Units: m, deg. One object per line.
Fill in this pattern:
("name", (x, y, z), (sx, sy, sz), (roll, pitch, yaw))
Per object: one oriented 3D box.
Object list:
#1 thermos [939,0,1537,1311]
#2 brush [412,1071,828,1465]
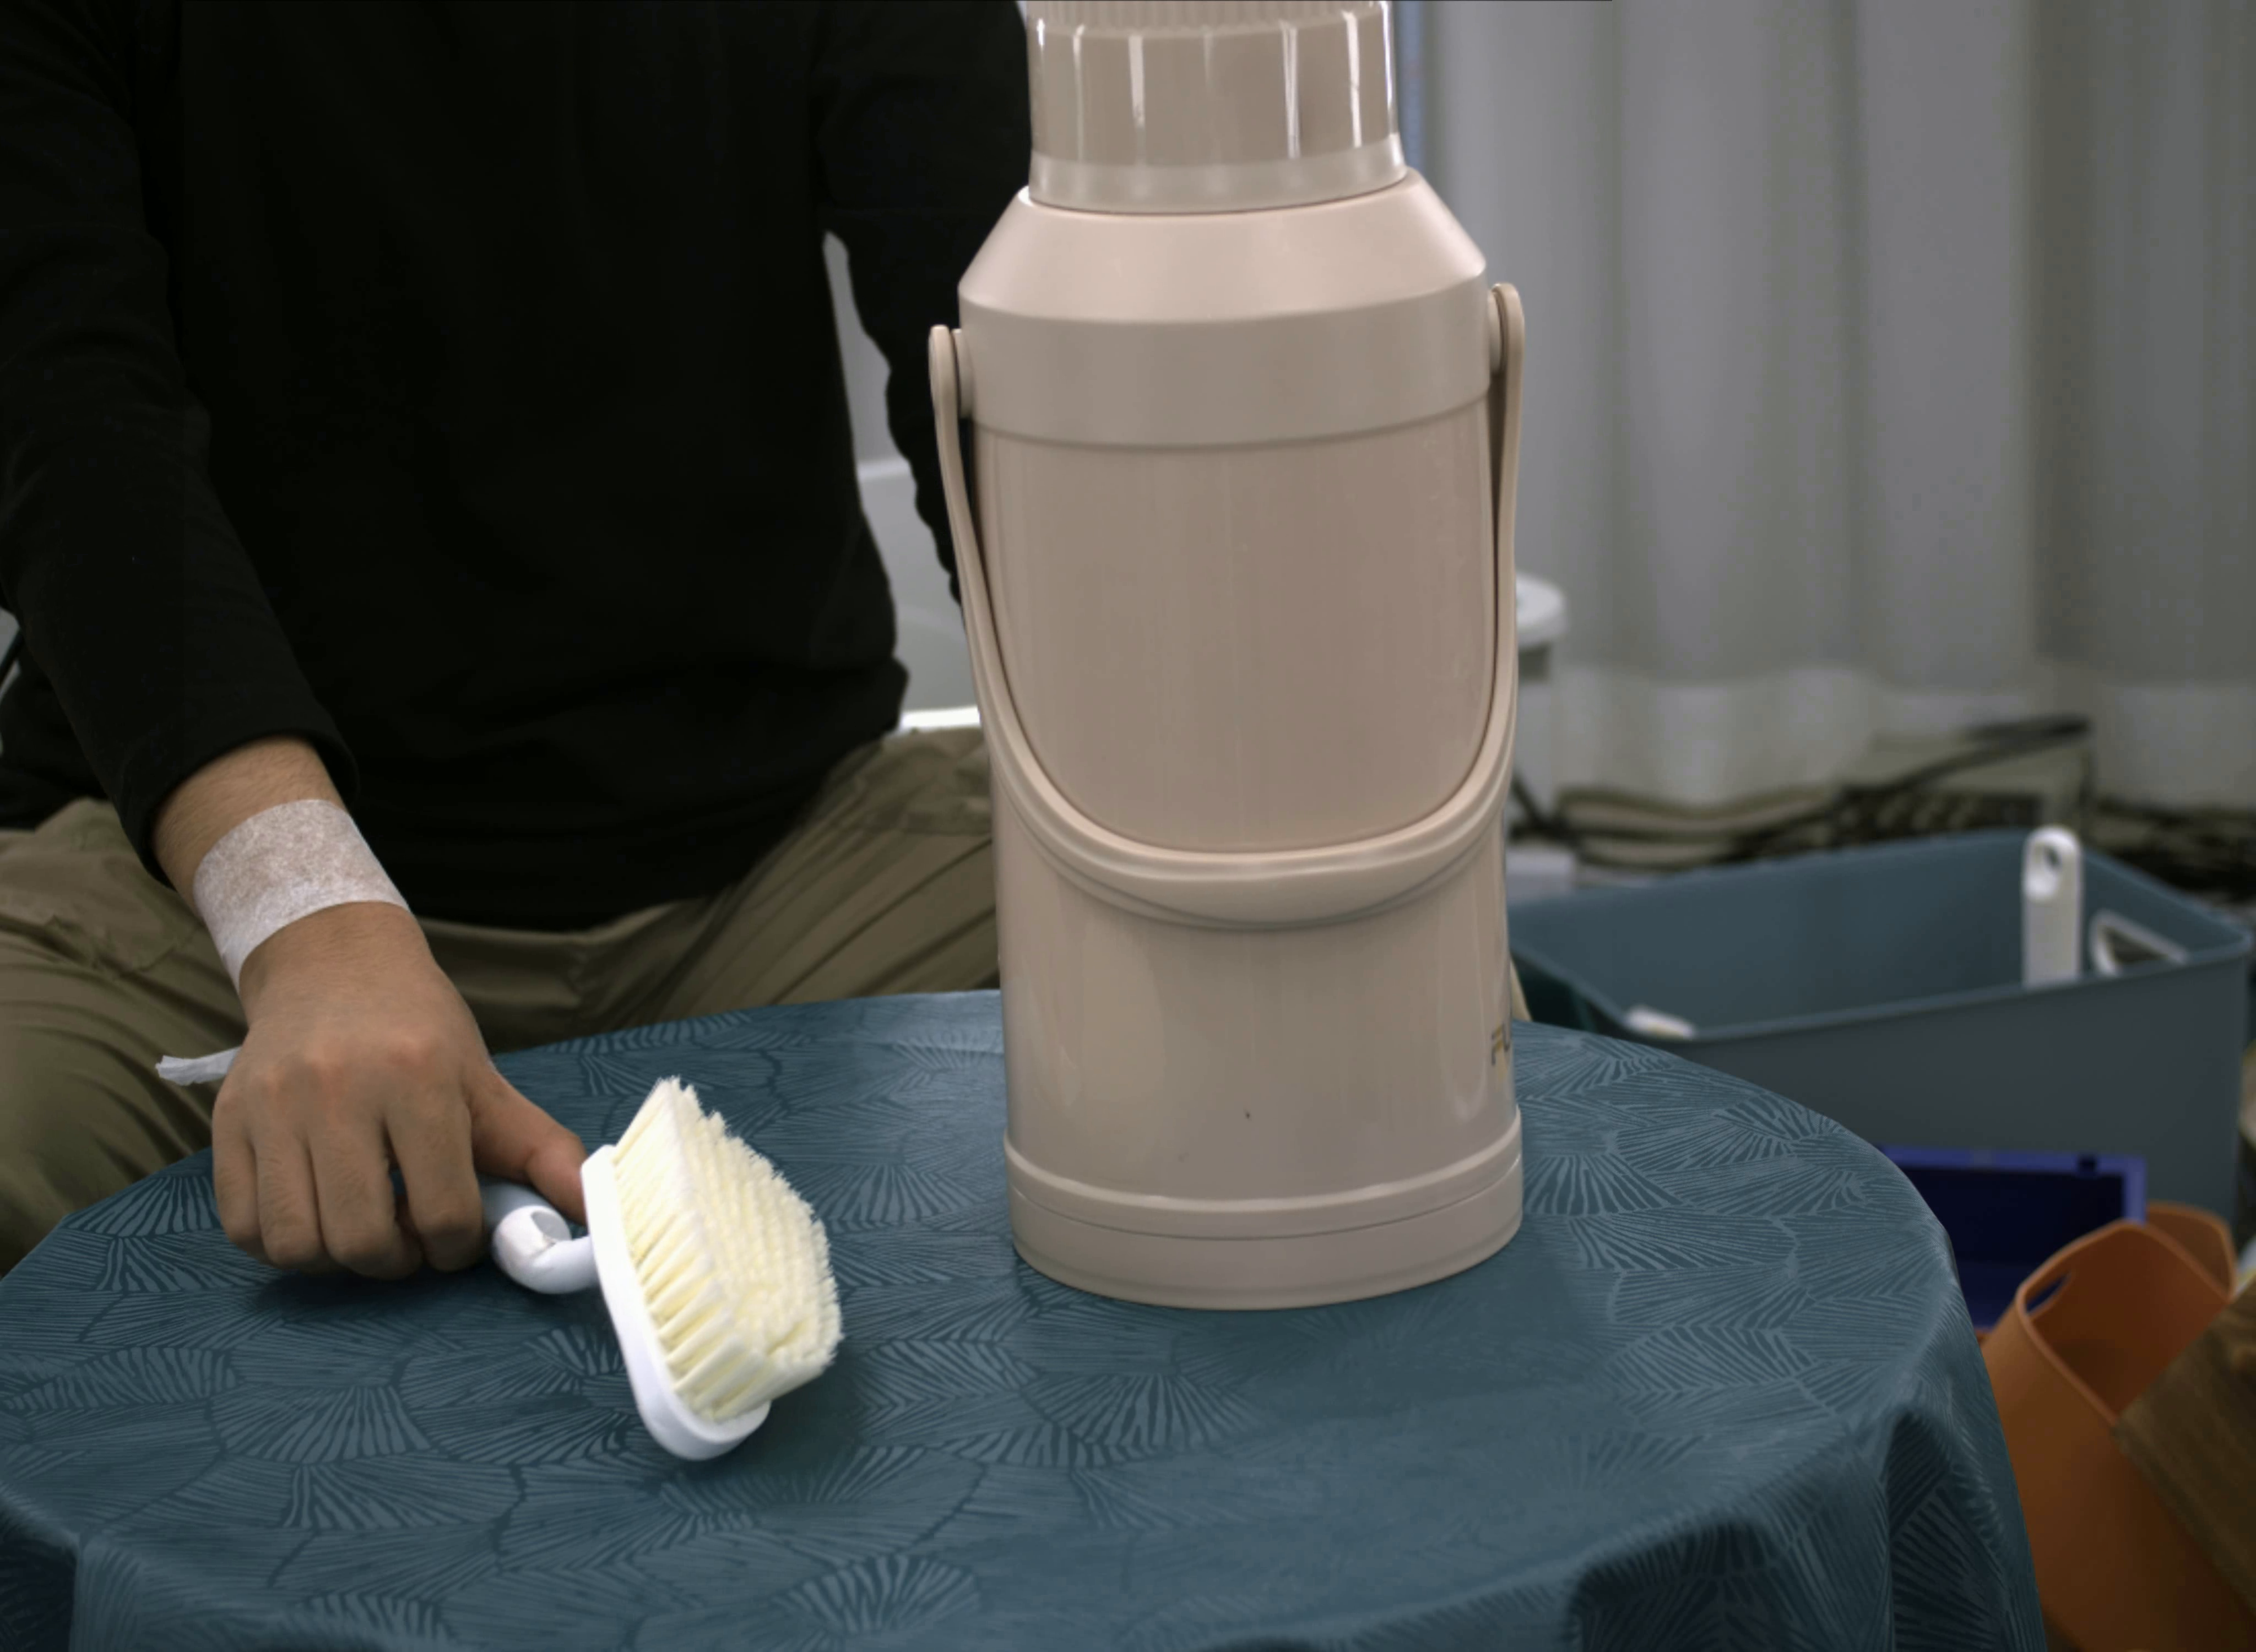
("thermos", (0.035, -0.073, 1.647), (0.174, 0.405, 0.208), (-6, 14, -7))
("brush", (-0.151, 0.103, 1.639), (0.084, 0.083, 0.328), (-9, 16, -15))
